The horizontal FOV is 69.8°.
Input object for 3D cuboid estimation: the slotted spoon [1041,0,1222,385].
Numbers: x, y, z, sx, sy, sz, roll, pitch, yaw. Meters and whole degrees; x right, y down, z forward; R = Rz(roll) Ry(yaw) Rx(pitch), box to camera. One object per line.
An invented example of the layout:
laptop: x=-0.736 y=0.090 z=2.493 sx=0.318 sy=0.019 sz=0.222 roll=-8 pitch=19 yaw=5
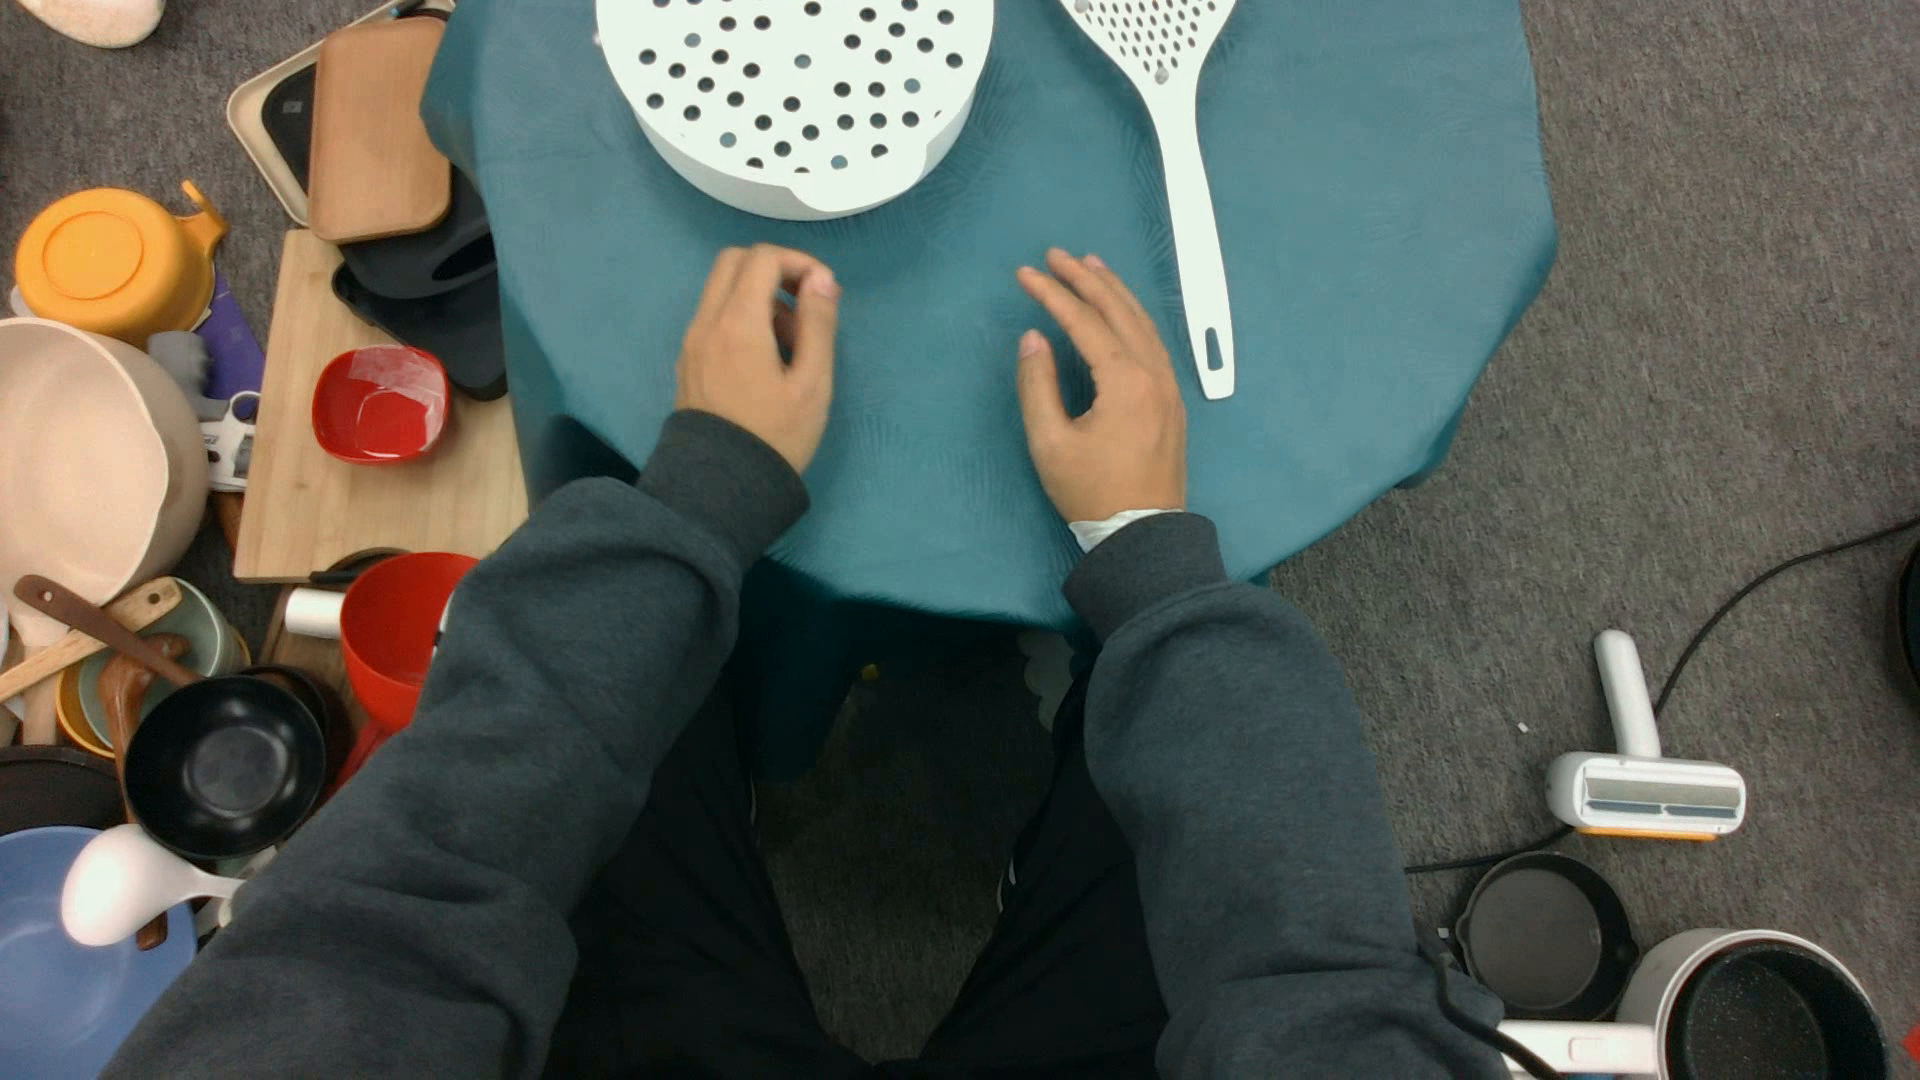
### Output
slotted spoon: x=0.099 y=-0.257 z=0.760 sx=0.137 sy=0.050 sz=0.348 roll=-9 pitch=80 yaw=-10

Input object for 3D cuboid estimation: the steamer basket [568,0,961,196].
steamer basket: x=-0.101 y=-0.282 z=0.733 sx=0.202 sy=0.069 sz=0.231 roll=-20 pitch=79 yaw=-8
